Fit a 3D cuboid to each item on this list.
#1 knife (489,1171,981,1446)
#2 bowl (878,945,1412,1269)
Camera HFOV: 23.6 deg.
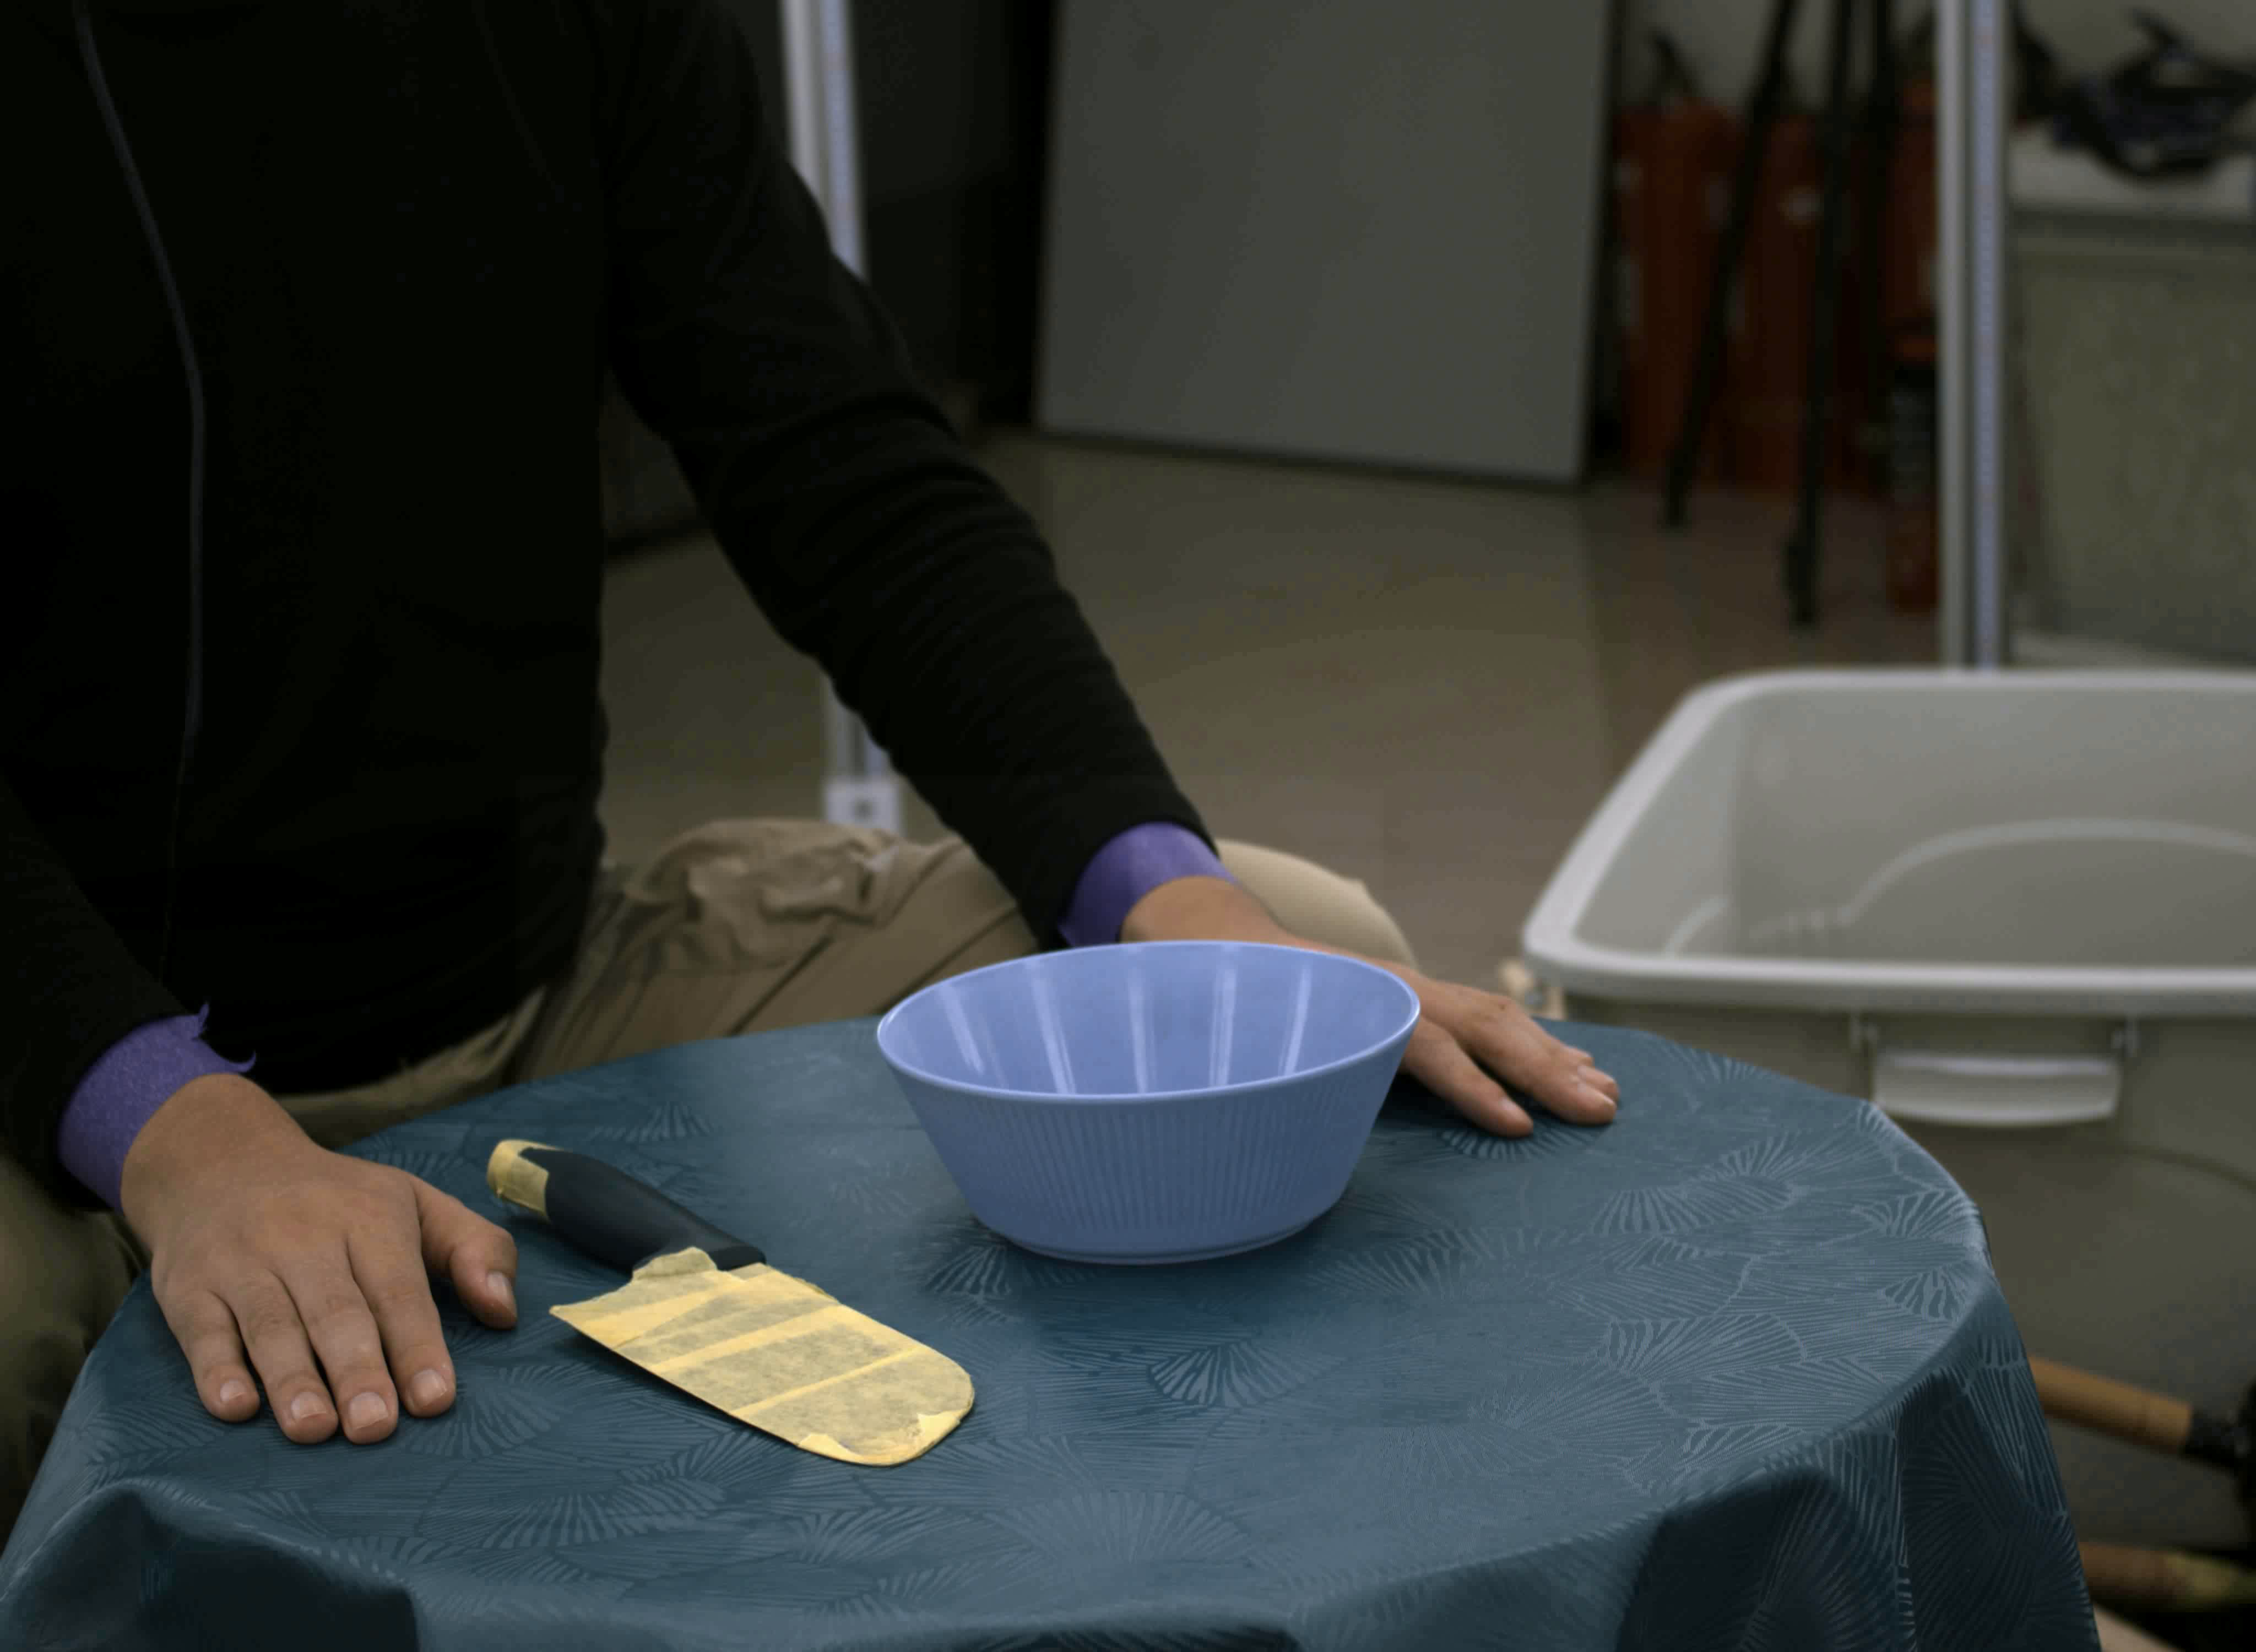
[{"bbox_3d":[-0.134,0.151,1.669,0.079,0.027,0.292,-11,16,-31],"label":"knife"},{"bbox_3d":[0.008,0.093,1.742,0.174,0.071,0.176,-5,14,0],"label":"bowl"}]
